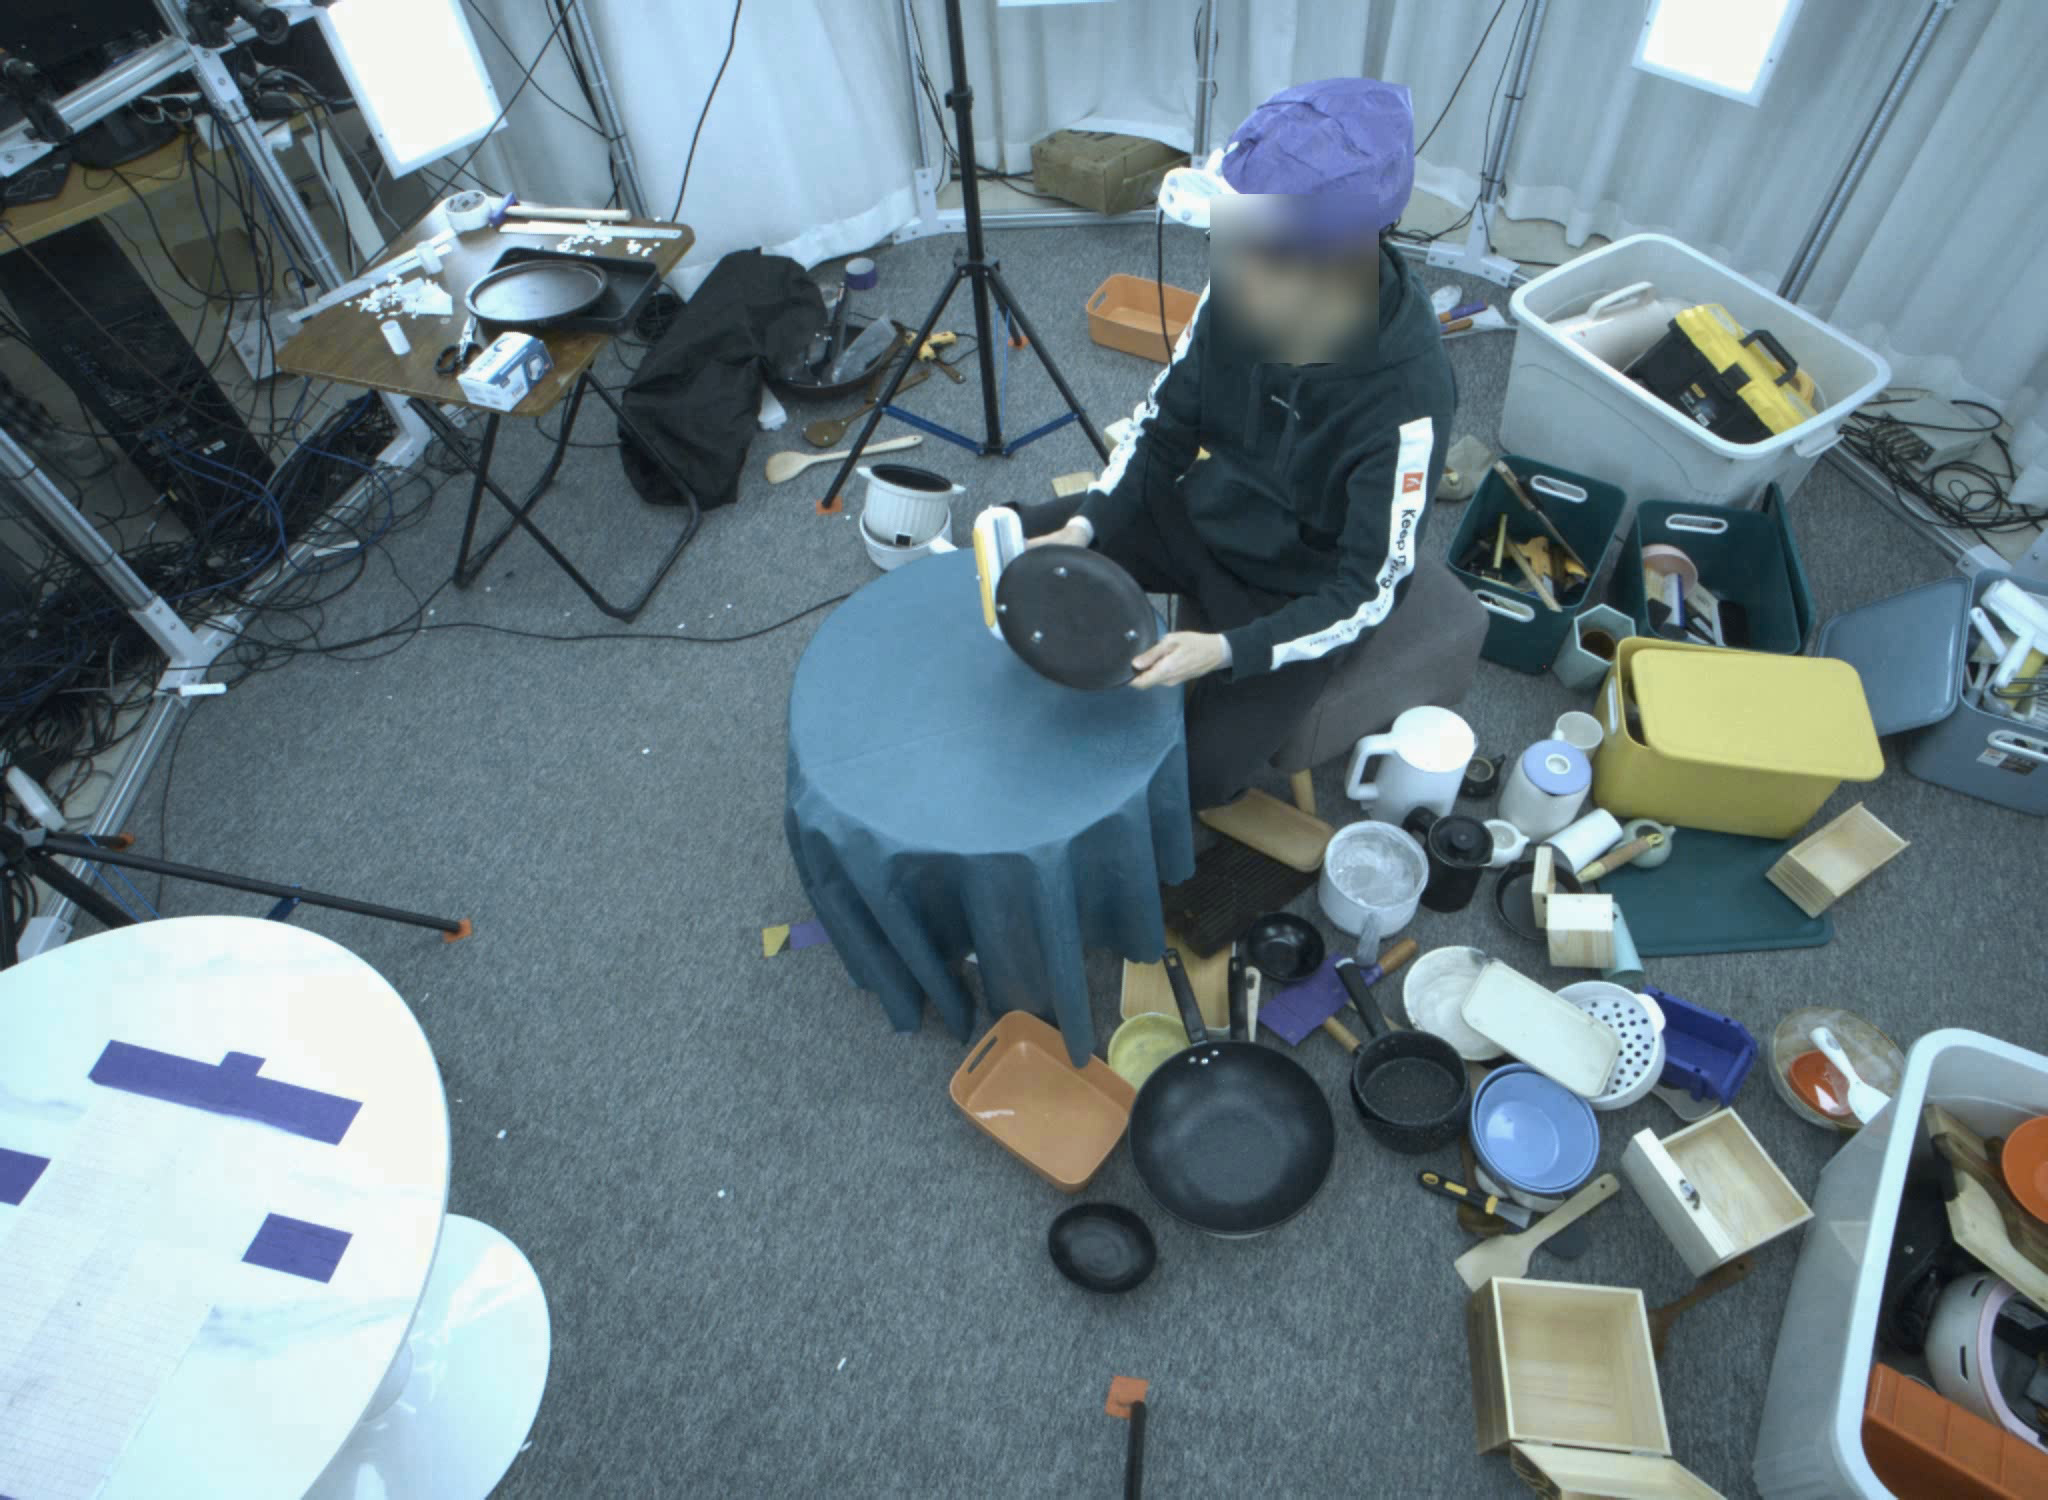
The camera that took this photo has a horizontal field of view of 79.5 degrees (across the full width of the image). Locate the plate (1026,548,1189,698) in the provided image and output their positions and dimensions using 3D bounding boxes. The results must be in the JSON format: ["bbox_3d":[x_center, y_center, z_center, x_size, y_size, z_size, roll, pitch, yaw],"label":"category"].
[{"bbox_3d":[0.116,-0.177,1.733,0.247,0.023,0.242,9,63,-17],"label":"plate"}]

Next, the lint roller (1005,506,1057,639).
[{"bbox_3d":[0.050,-0.261,1.831,0.196,0.193,0.072,-6,3,-44],"label":"lint roller"}]
